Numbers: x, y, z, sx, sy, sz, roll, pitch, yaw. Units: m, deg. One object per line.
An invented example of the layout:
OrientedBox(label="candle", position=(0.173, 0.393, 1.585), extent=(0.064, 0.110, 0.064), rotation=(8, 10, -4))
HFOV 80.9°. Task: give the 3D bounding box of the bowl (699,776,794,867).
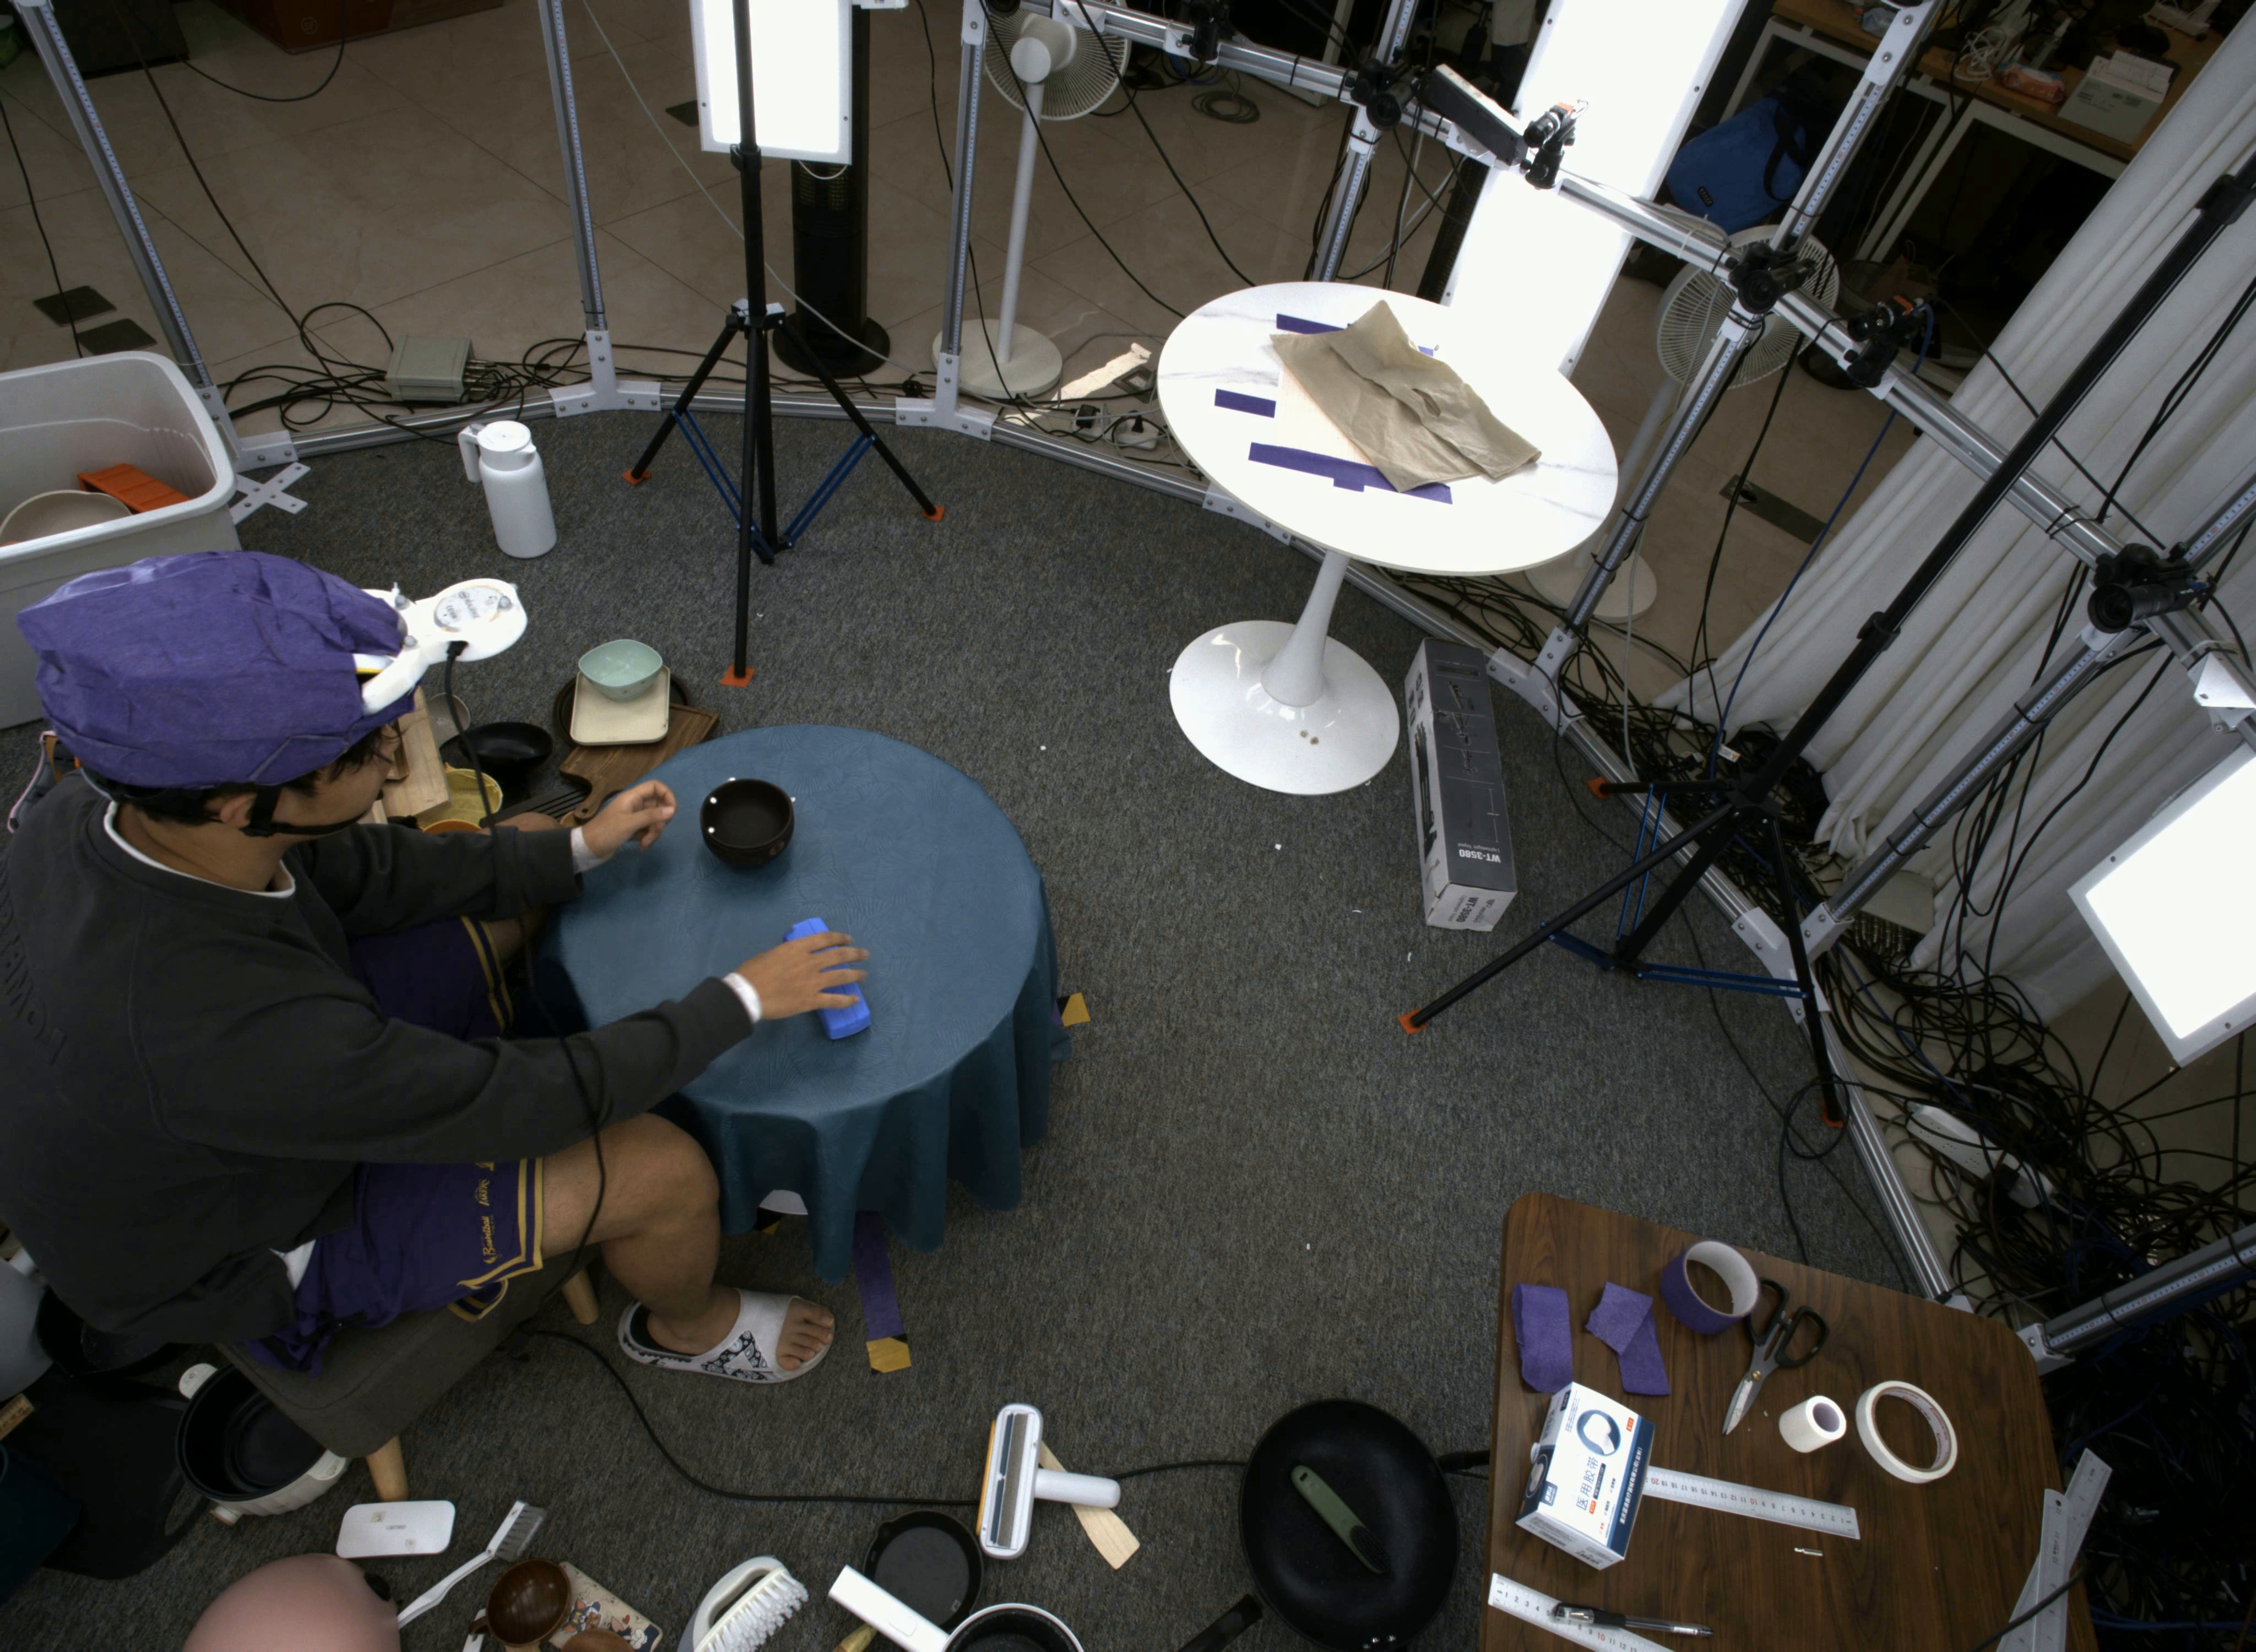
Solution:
OrientedBox(label="bowl", position=(-0.489, 0.001, 1.664), extent=(0.118, 0.071, 0.116), rotation=(7, 53, -8))

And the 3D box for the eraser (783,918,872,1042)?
OrientedBox(label="eraser", position=(-0.367, 0.179, 1.580), extent=(0.054, 0.048, 0.158), rotation=(-21, 61, -27))
